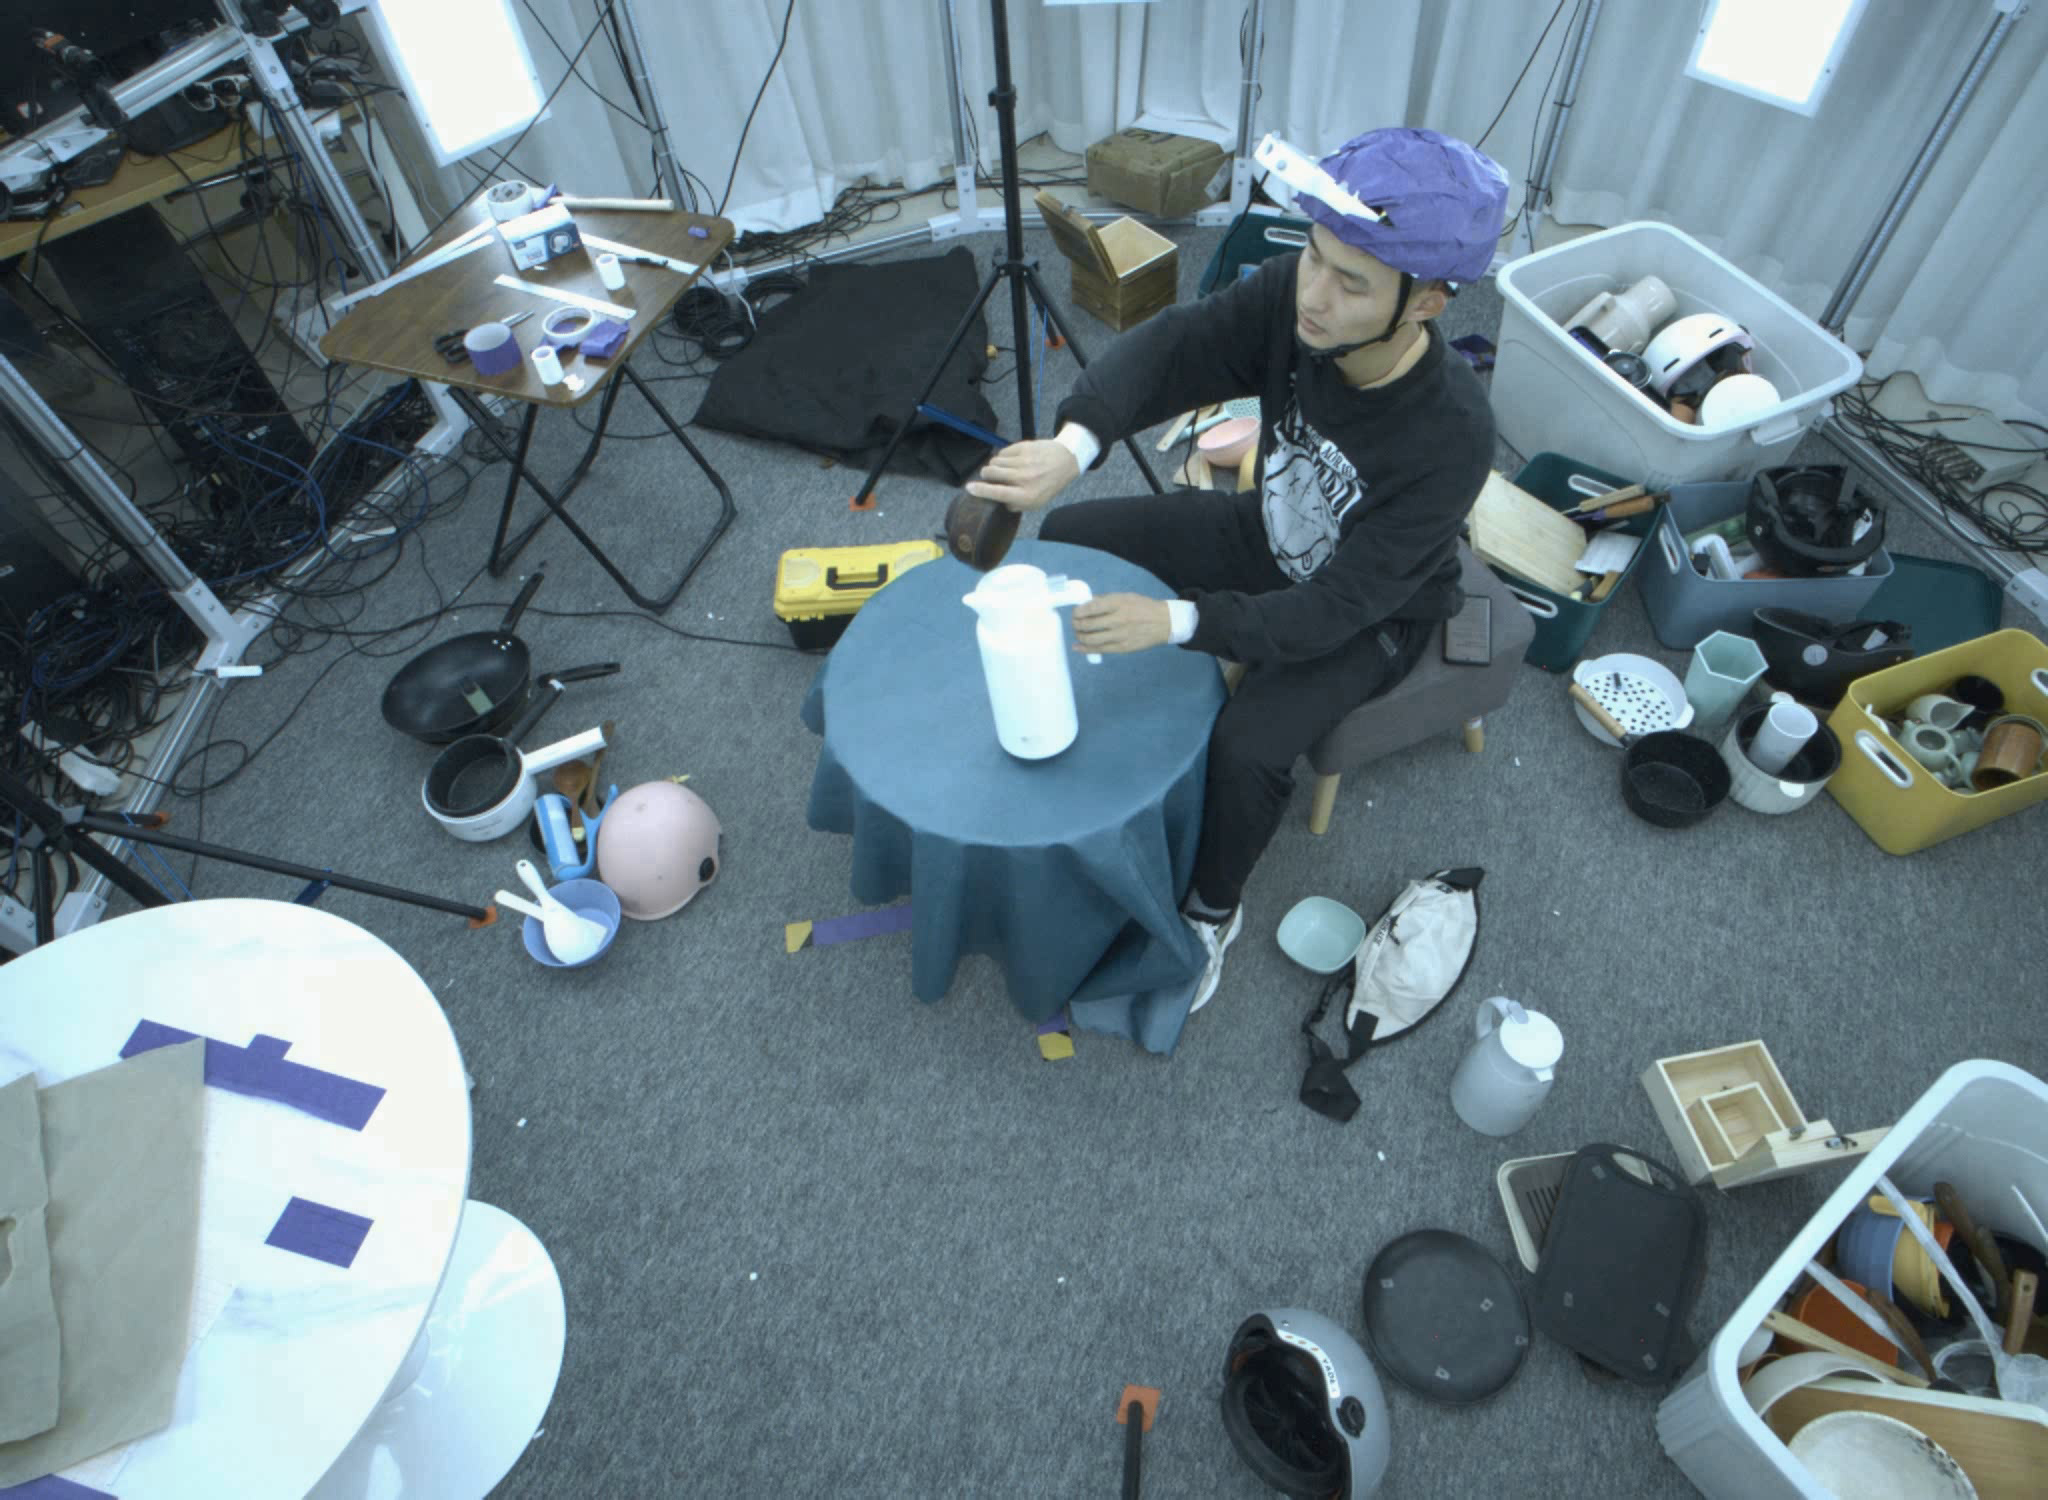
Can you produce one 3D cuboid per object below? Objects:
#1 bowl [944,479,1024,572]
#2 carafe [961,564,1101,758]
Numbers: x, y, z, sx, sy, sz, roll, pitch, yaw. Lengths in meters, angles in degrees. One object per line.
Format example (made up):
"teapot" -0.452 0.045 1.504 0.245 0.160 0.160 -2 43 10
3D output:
"bowl" -0.059 -0.293 1.564 0.069 0.119 0.118 27 60 15
"carafe" 0.019 -0.124 1.697 0.173 0.272 0.122 -11 41 0
